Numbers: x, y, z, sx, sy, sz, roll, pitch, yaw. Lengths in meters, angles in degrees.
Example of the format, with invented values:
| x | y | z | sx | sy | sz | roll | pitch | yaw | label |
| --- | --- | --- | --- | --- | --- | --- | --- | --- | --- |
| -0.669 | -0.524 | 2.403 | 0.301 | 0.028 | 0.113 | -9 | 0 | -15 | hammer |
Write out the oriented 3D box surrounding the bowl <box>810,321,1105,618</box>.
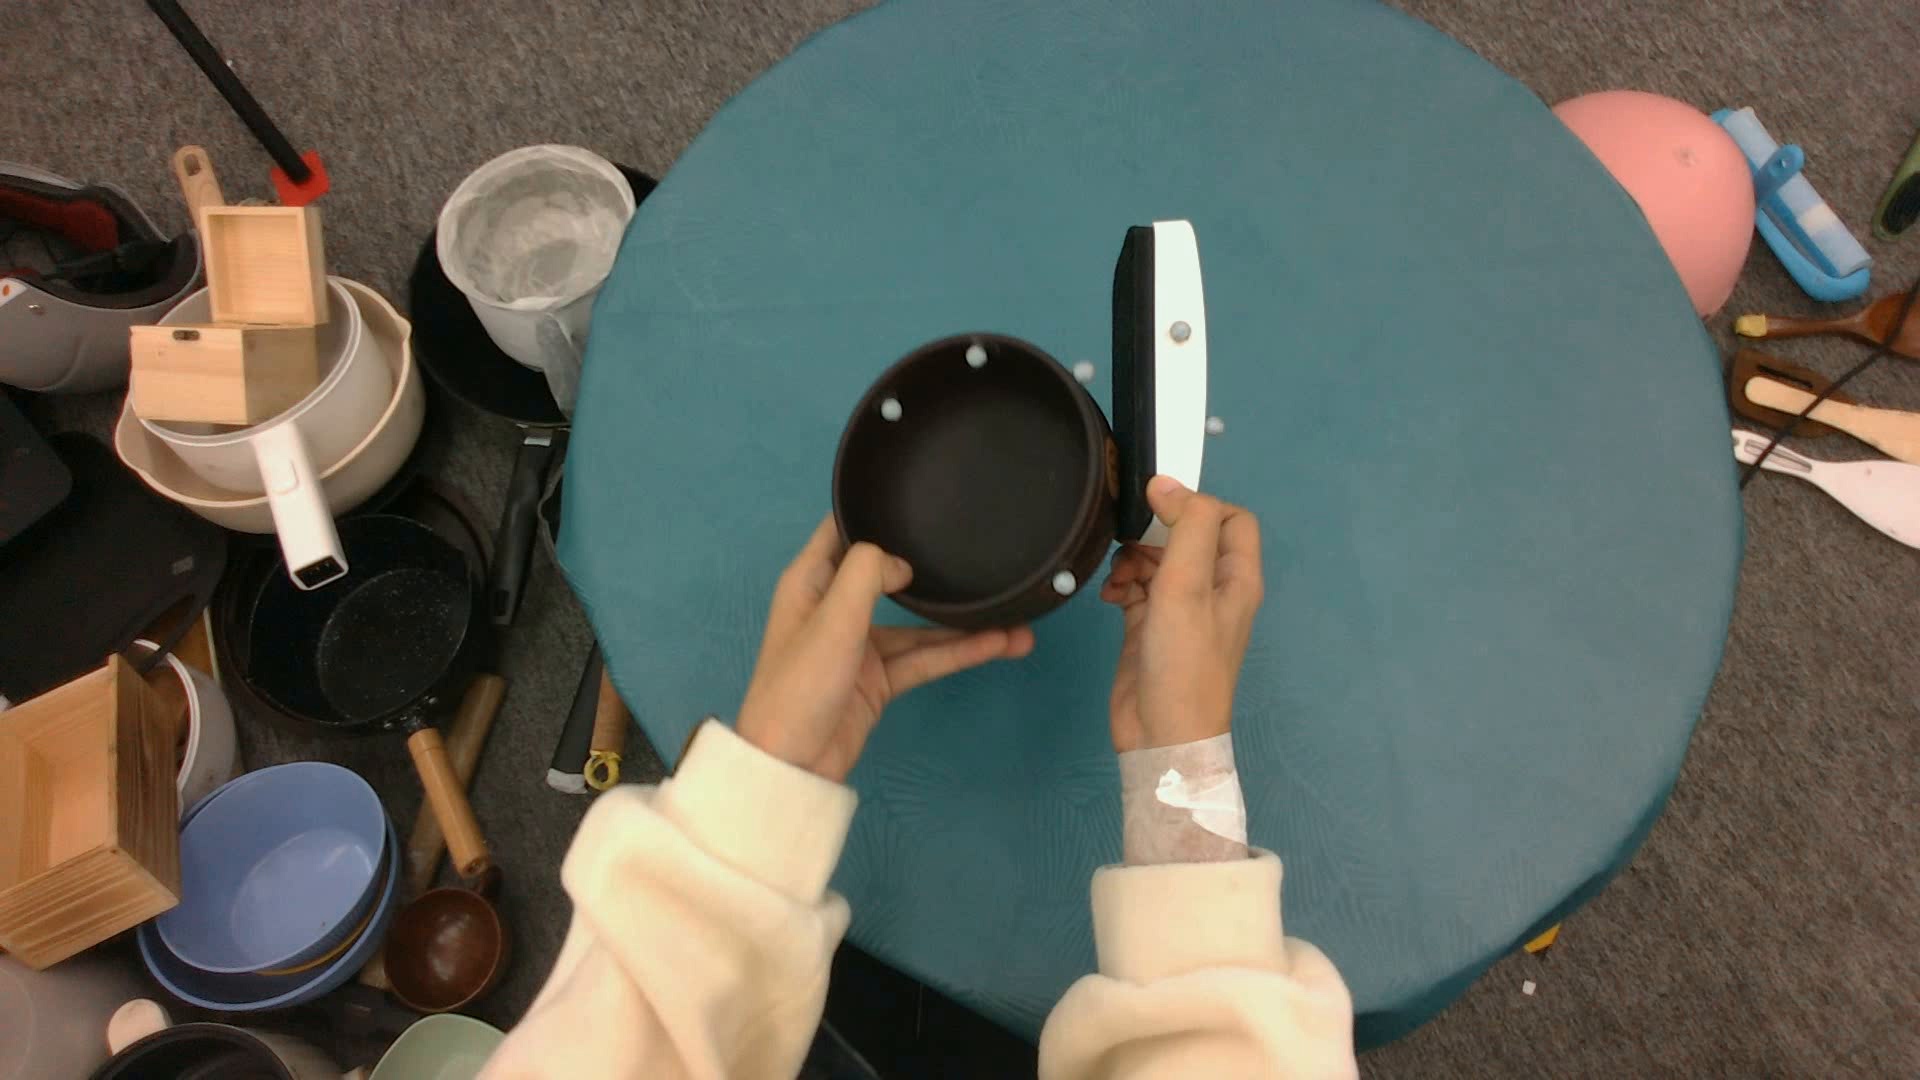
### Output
| x | y | z | sx | sy | sz | roll | pitch | yaw | label |
| --- | --- | --- | --- | --- | --- | --- | --- | --- | --- |
| 0.005 | -0.024 | 0.567 | 0.118 | 0.070 | 0.118 | -7 | 73 | 24 | bowl |

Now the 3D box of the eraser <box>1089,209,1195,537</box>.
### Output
| x | y | z | sx | sy | sz | roll | pitch | yaw | label |
| --- | --- | --- | --- | --- | --- | --- | --- | --- | --- |
| 0.073 | -0.069 | 0.569 | 0.034 | 0.063 | 0.131 | 0 | 75 | -2 | eraser |
